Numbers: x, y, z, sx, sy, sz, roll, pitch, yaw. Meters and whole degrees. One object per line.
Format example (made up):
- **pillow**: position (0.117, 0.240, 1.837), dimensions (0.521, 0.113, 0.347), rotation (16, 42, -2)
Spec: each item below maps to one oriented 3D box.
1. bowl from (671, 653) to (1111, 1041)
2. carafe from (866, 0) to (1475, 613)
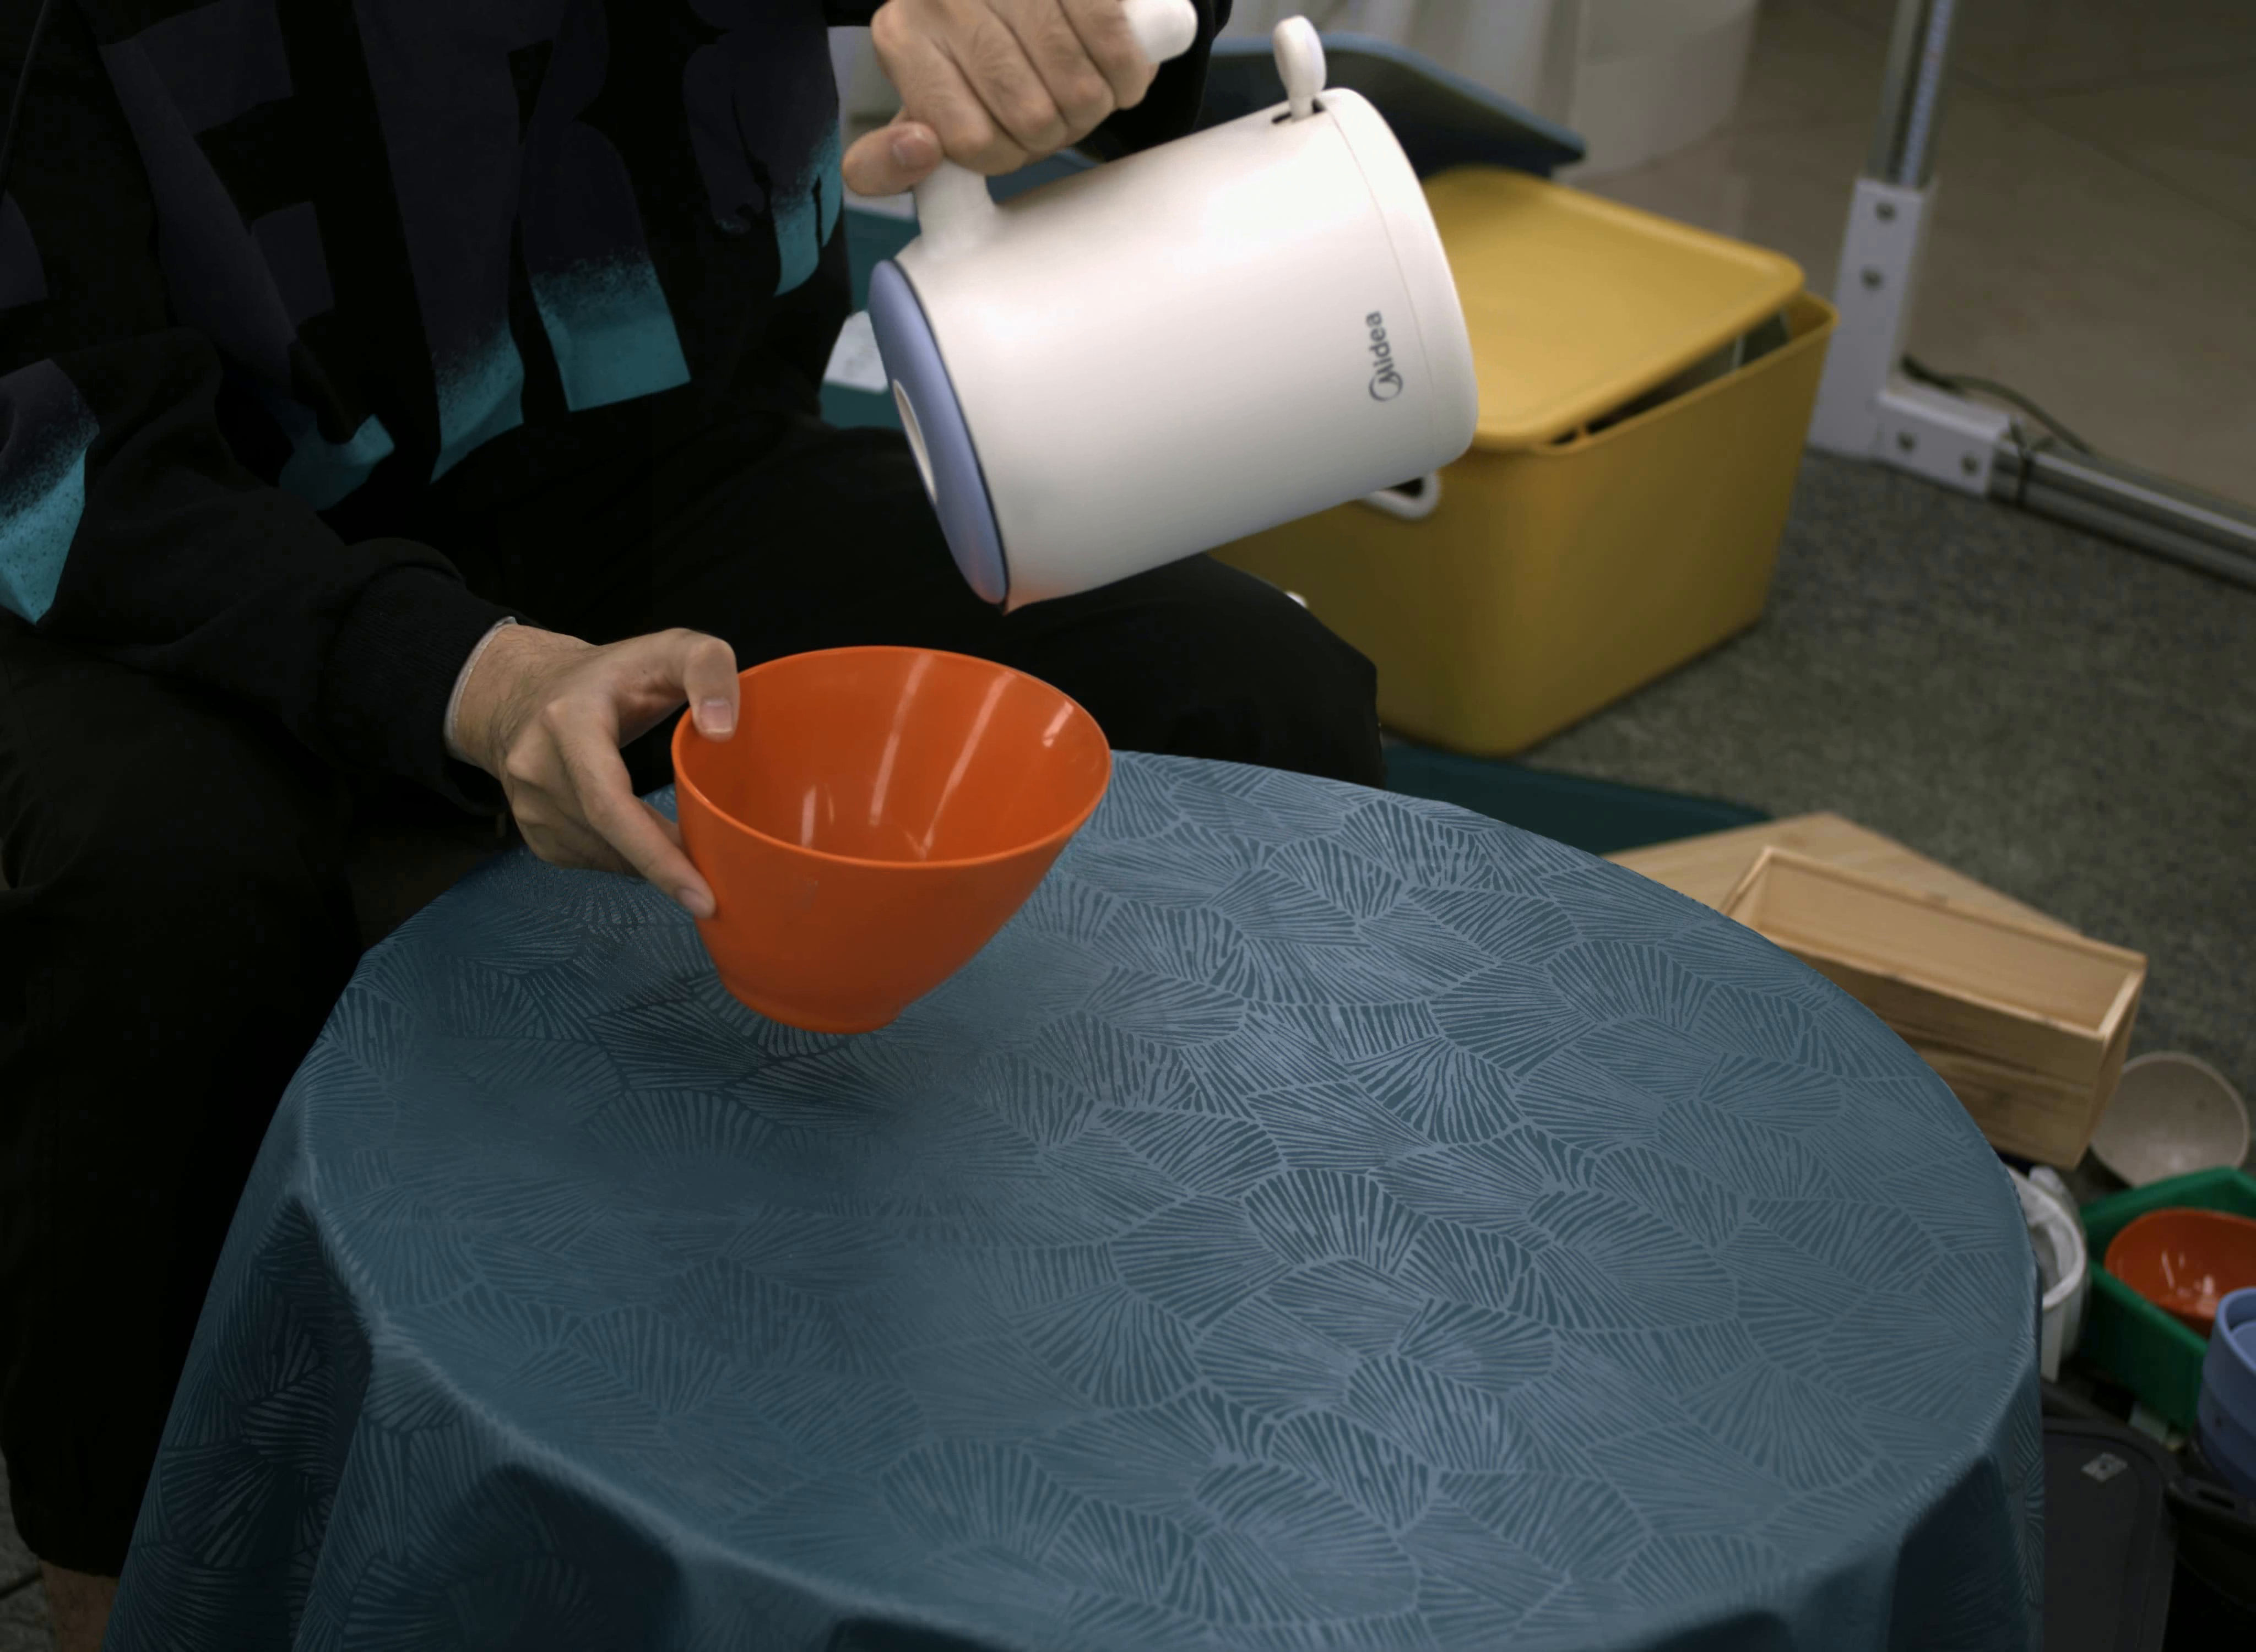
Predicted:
- **bowl**: position (-0.088, 0.013, 1.814), dimensions (0.147, 0.104, 0.149), rotation (11, 26, -6)
- **carafe**: position (0.008, -0.179, 1.740), dimensions (0.182, 0.190, 0.133), rotation (-17, 23, -8)
